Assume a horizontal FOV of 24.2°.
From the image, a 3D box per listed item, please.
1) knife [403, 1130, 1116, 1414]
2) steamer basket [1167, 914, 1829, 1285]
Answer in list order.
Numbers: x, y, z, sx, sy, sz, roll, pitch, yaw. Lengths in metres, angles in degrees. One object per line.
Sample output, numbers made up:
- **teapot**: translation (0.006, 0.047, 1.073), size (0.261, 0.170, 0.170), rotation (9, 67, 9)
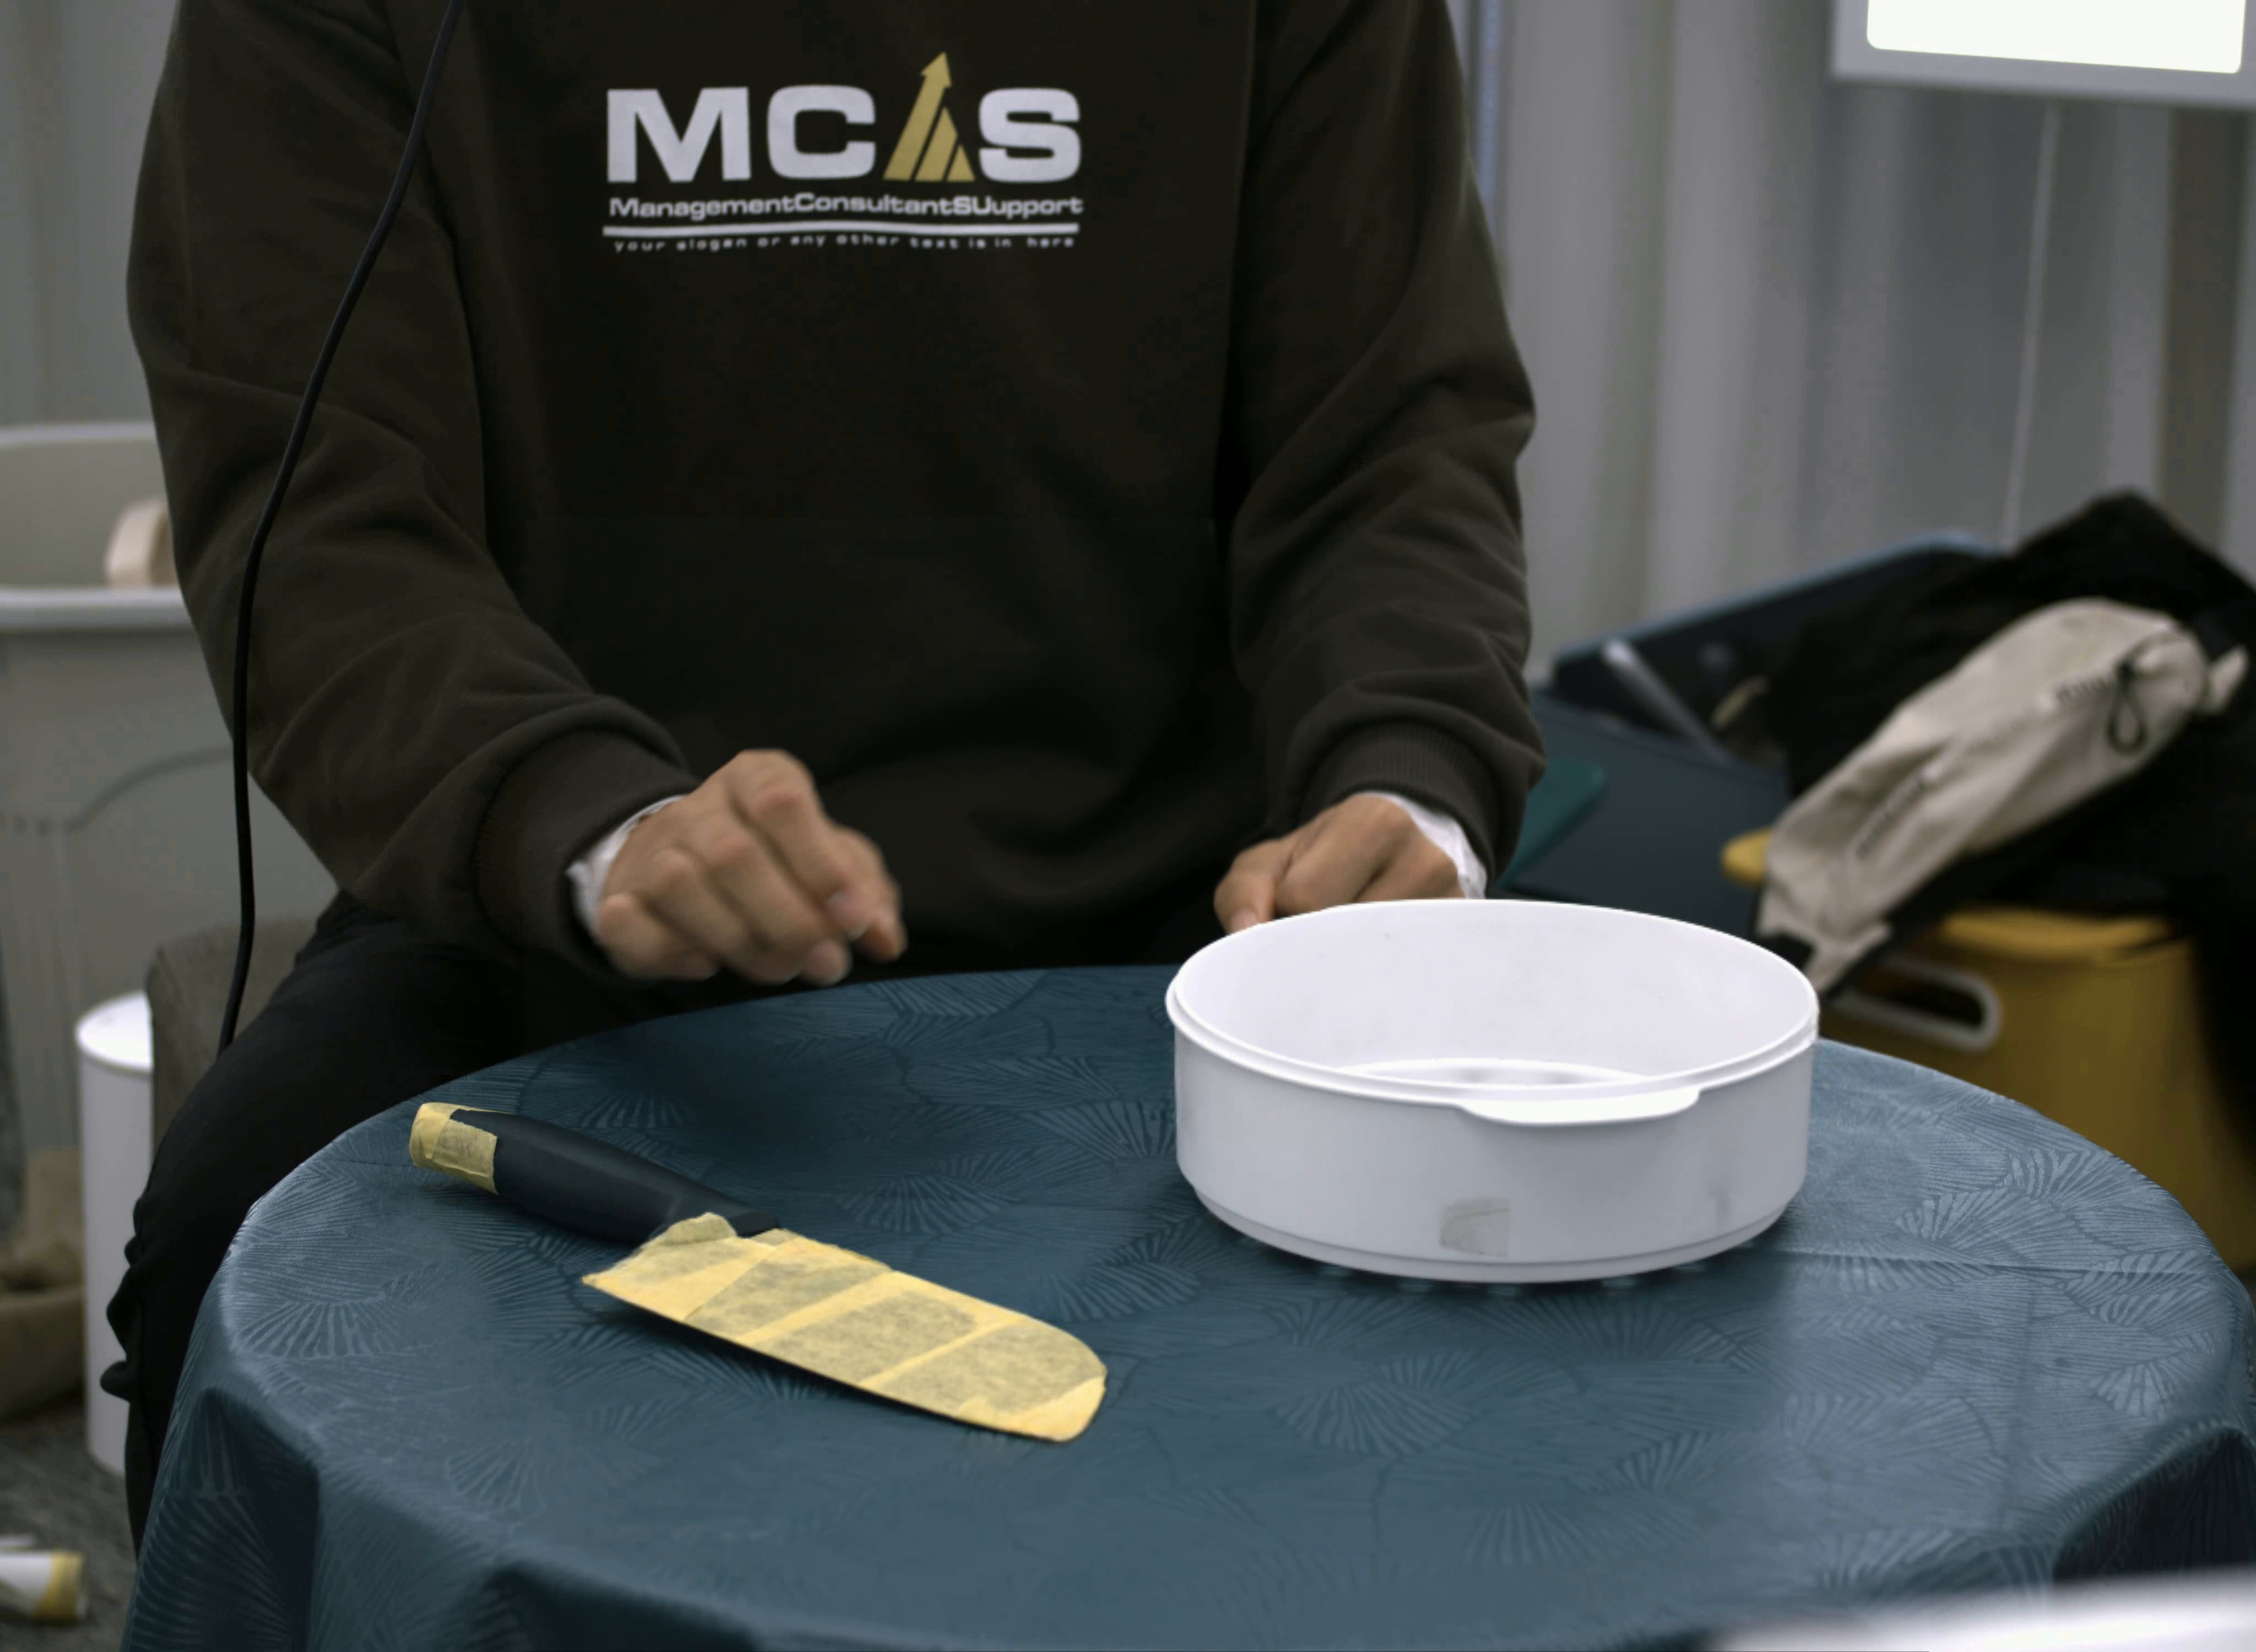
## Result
- **knife**: translation (-0.117, 0.131, 1.525), size (0.285, 0.027, 0.081), rotation (14, 18, 38)
- **steamer basket**: translation (0.112, 0.083, 1.610), size (0.202, 0.070, 0.228), rotation (-2, 14, -11)
